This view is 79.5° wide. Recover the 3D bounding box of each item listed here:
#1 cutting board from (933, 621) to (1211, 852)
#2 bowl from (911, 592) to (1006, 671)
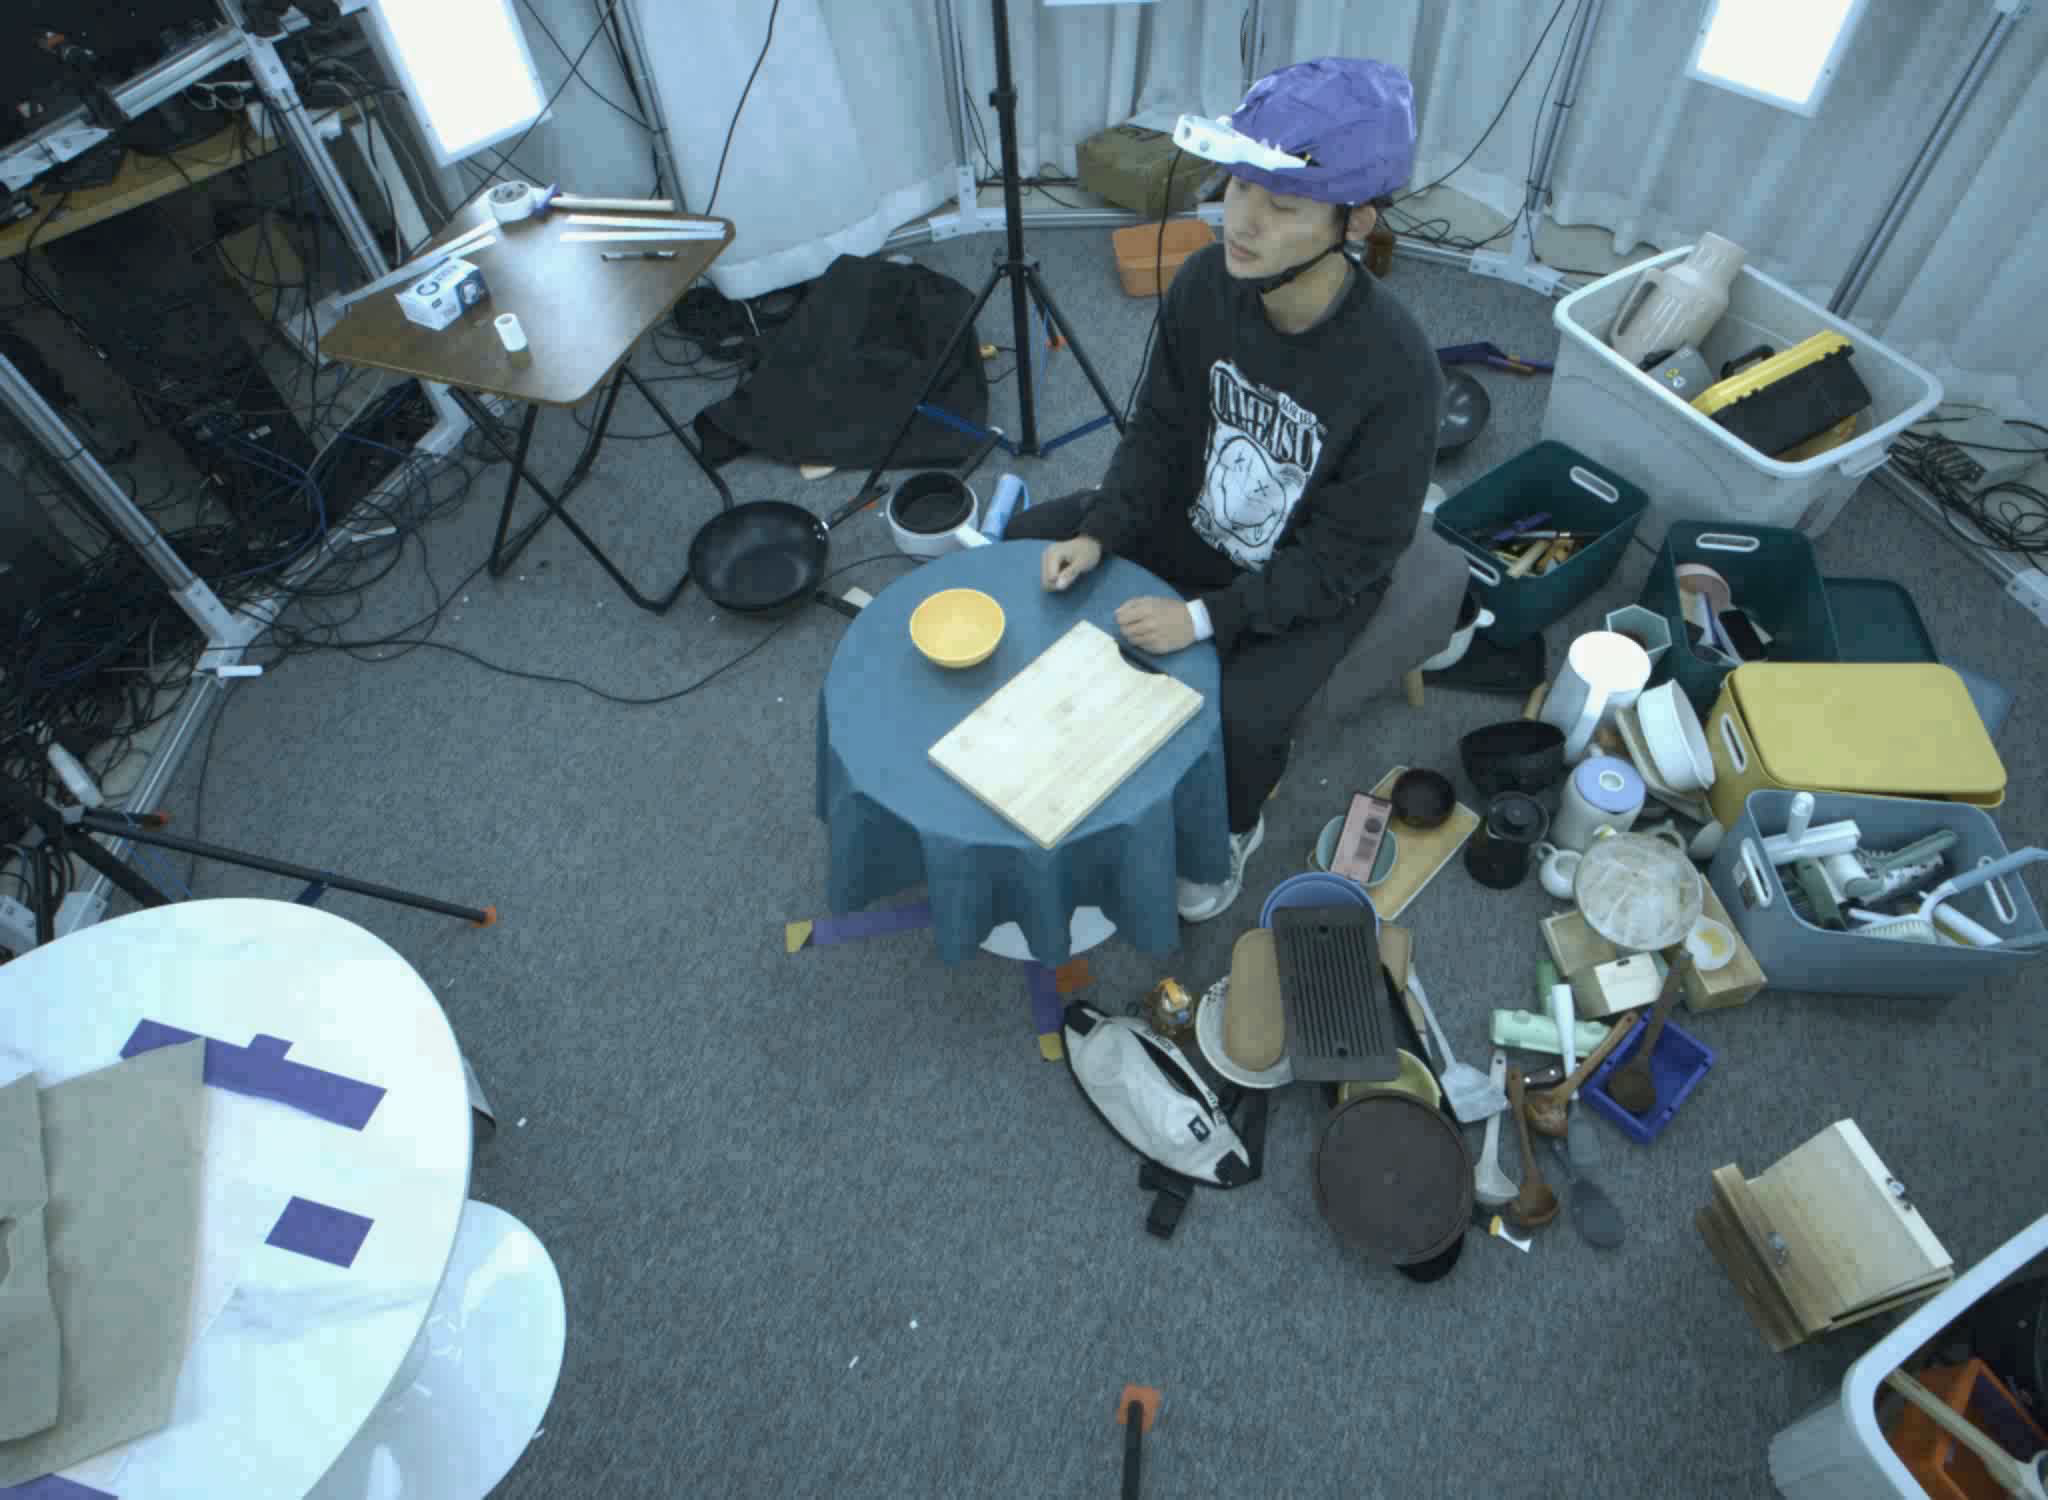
[{"bbox_3d":[0.070,-0.030,1.807,0.246,0.024,0.351,36,63,23],"label":"cutting board"},{"bbox_3d":[-0.100,-0.171,1.887,0.145,0.060,0.144,1,55,-1],"label":"bowl"}]
